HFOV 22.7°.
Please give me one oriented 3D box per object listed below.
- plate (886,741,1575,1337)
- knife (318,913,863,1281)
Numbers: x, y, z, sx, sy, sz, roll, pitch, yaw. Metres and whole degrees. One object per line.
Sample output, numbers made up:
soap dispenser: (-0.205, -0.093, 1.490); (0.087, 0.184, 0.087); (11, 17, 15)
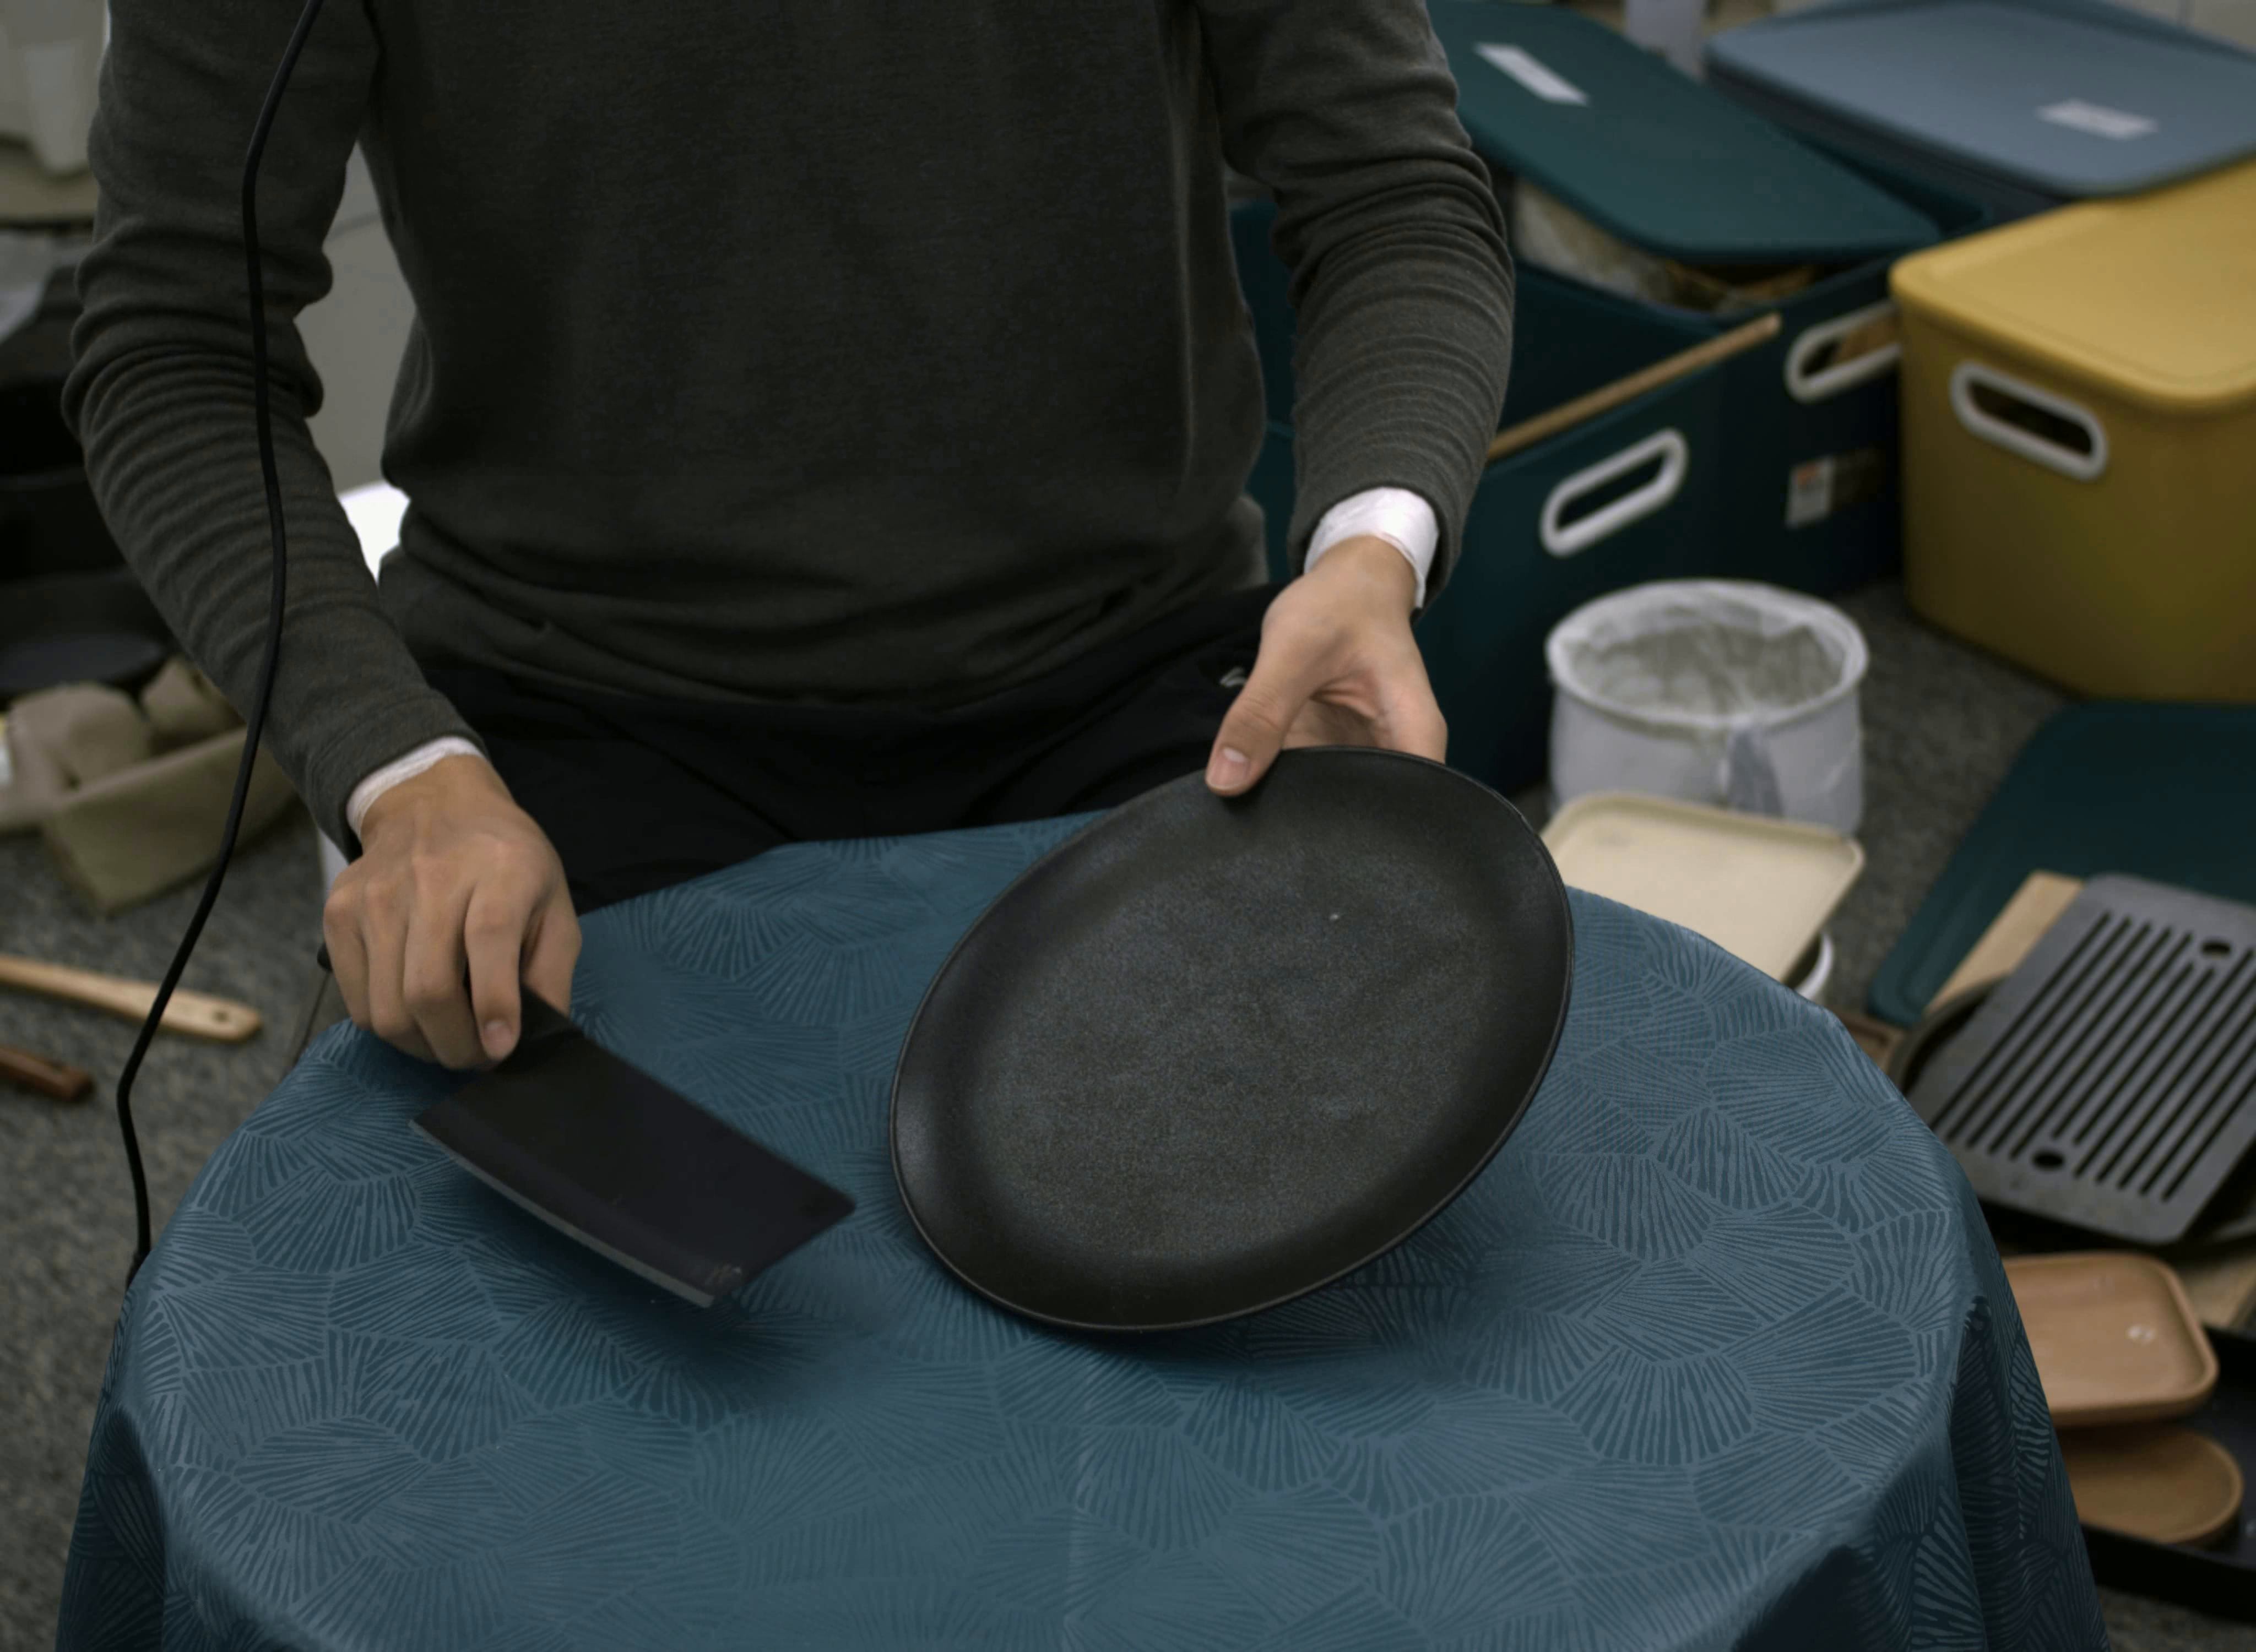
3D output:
plate: (0.035, 0.072, 1.846); (0.242, 0.023, 0.249); (-15, 44, 16)
knife: (-0.193, 0.087, 1.875); (0.081, 0.020, 0.302); (-29, 32, -23)
